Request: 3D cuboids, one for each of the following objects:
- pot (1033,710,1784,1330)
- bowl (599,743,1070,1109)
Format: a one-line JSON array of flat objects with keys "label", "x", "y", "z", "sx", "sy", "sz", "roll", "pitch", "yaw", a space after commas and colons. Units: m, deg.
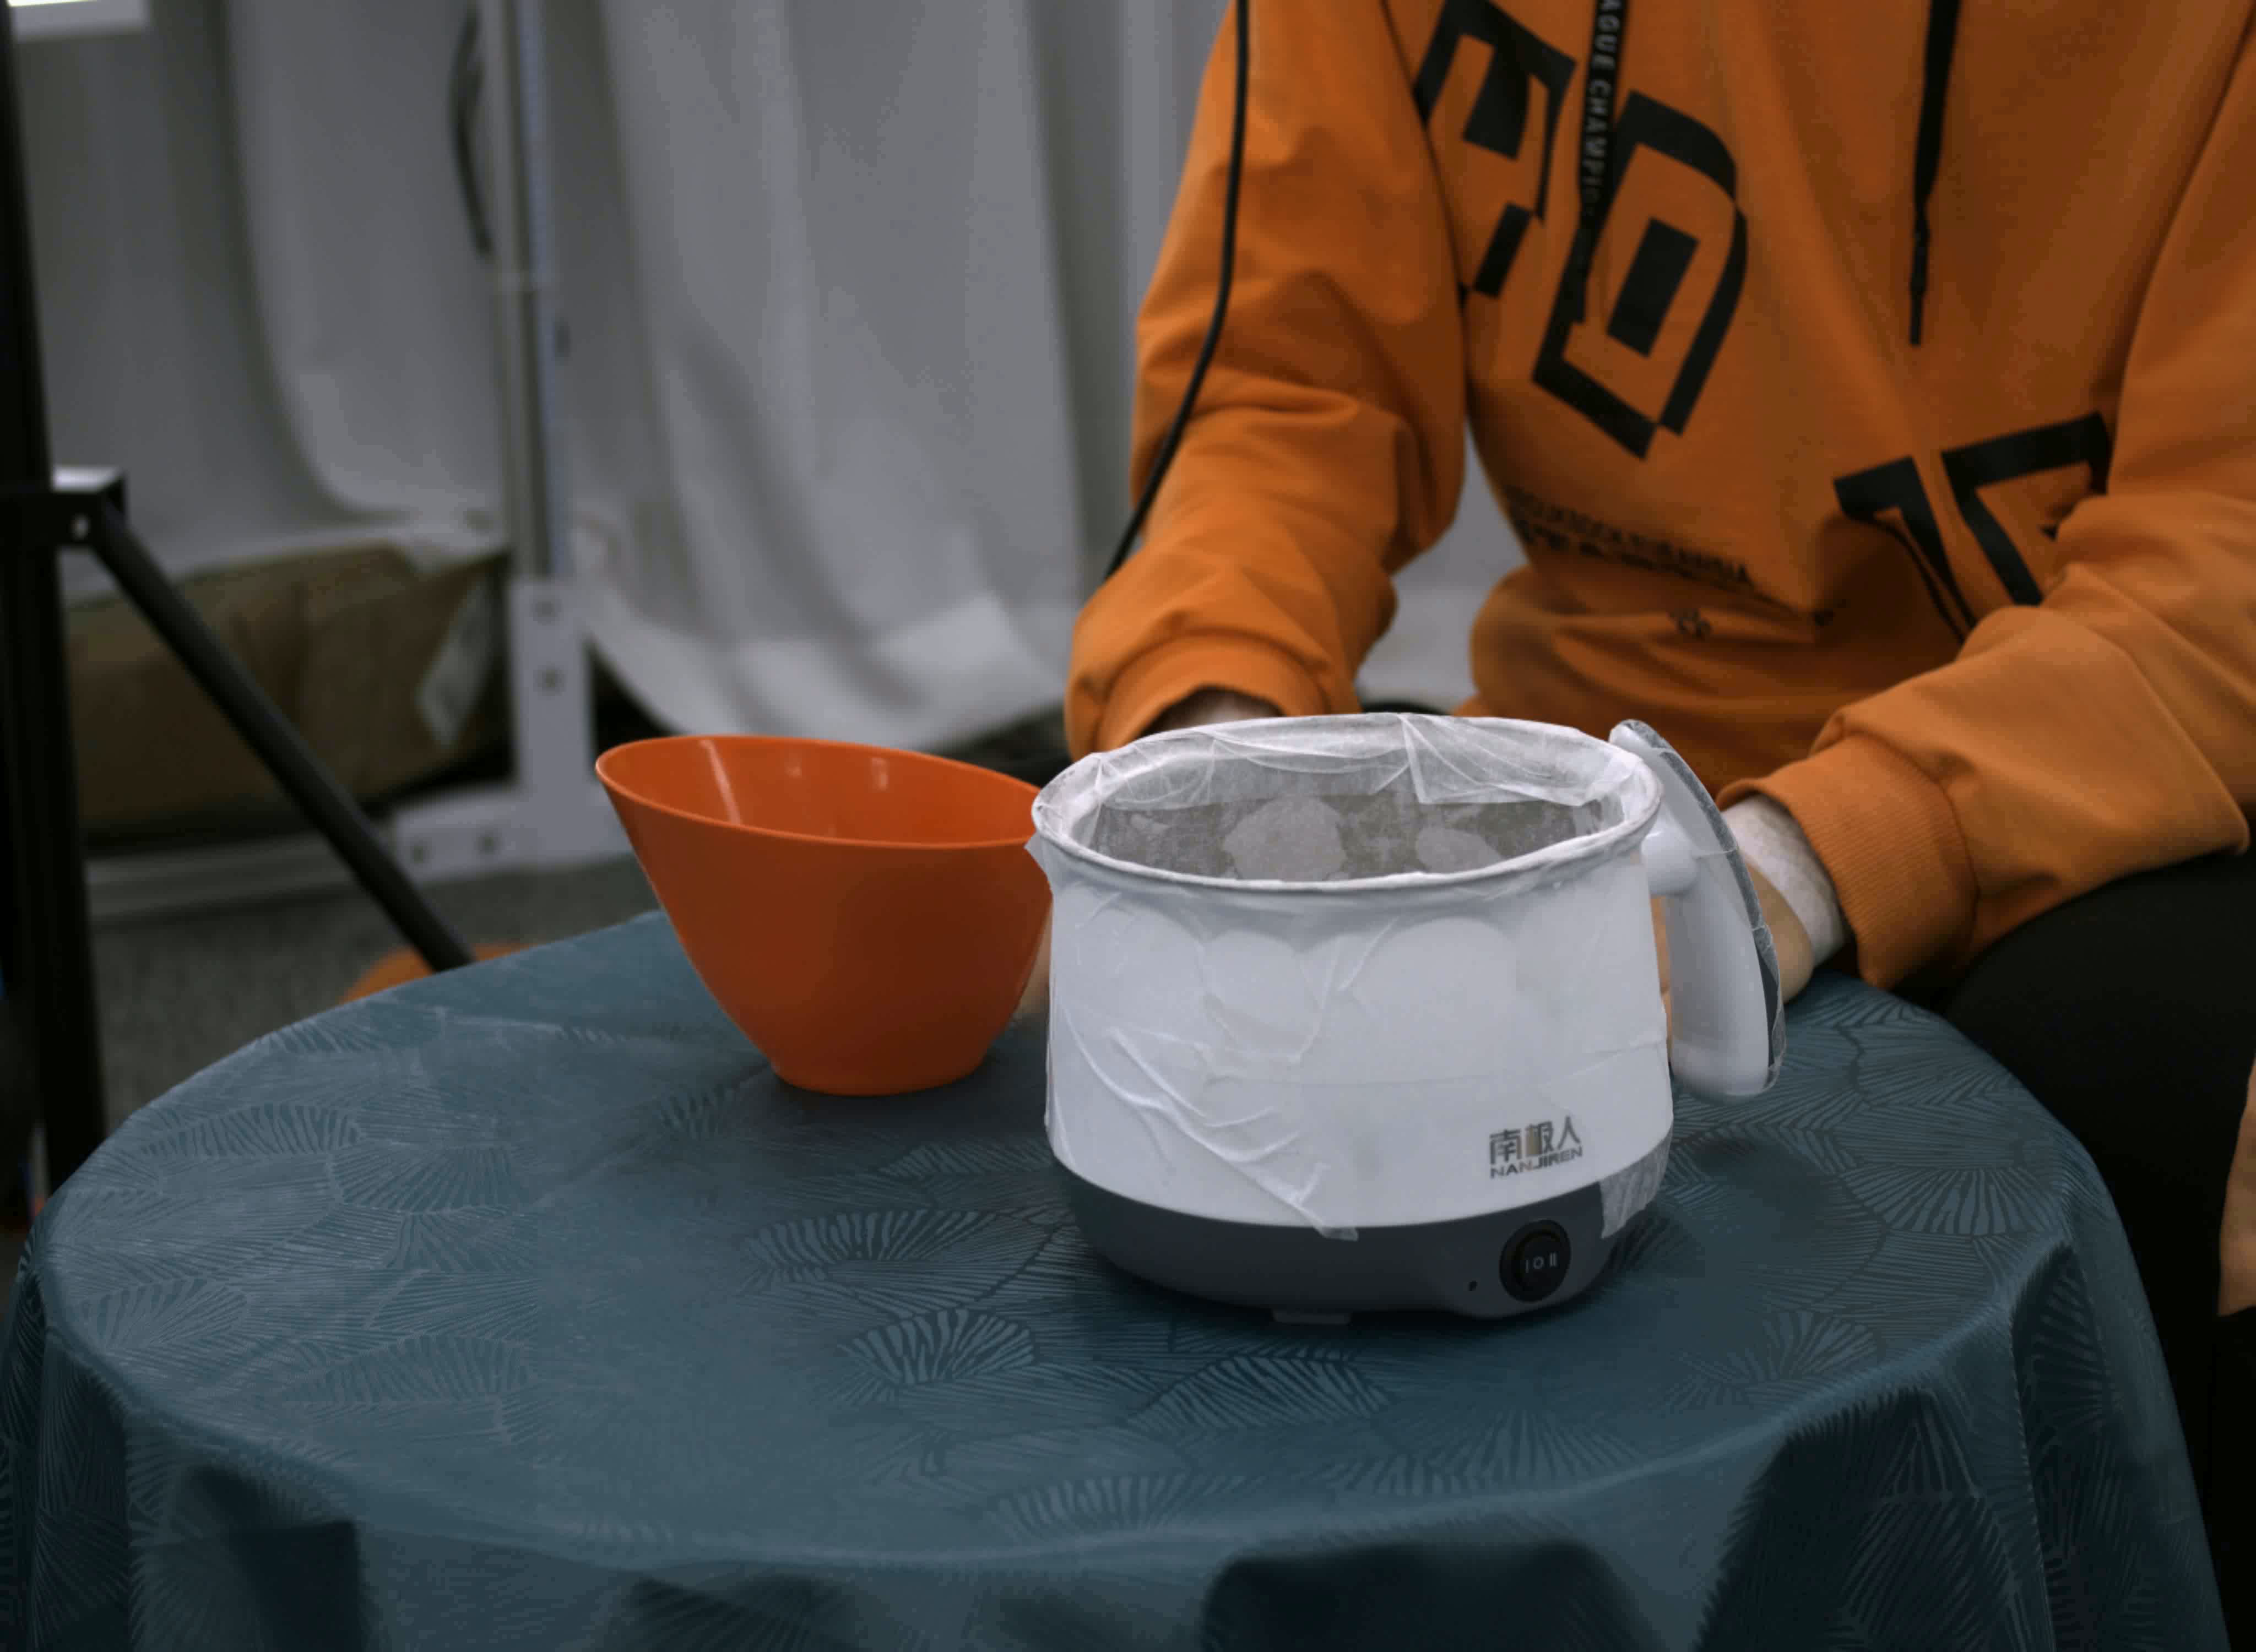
[{"label": "pot", "x": 0.087, "y": 0.048, "z": 1.506, "sx": 0.228, "sy": 0.136, "sz": 0.183, "roll": -12, "pitch": 18, "yaw": -30}, {"label": "bowl", "x": -0.091, "y": 0.031, "z": 1.671, "sx": 0.147, "sy": 0.104, "sz": 0.149, "roll": -1, "pitch": 15, "yaw": -1}]
